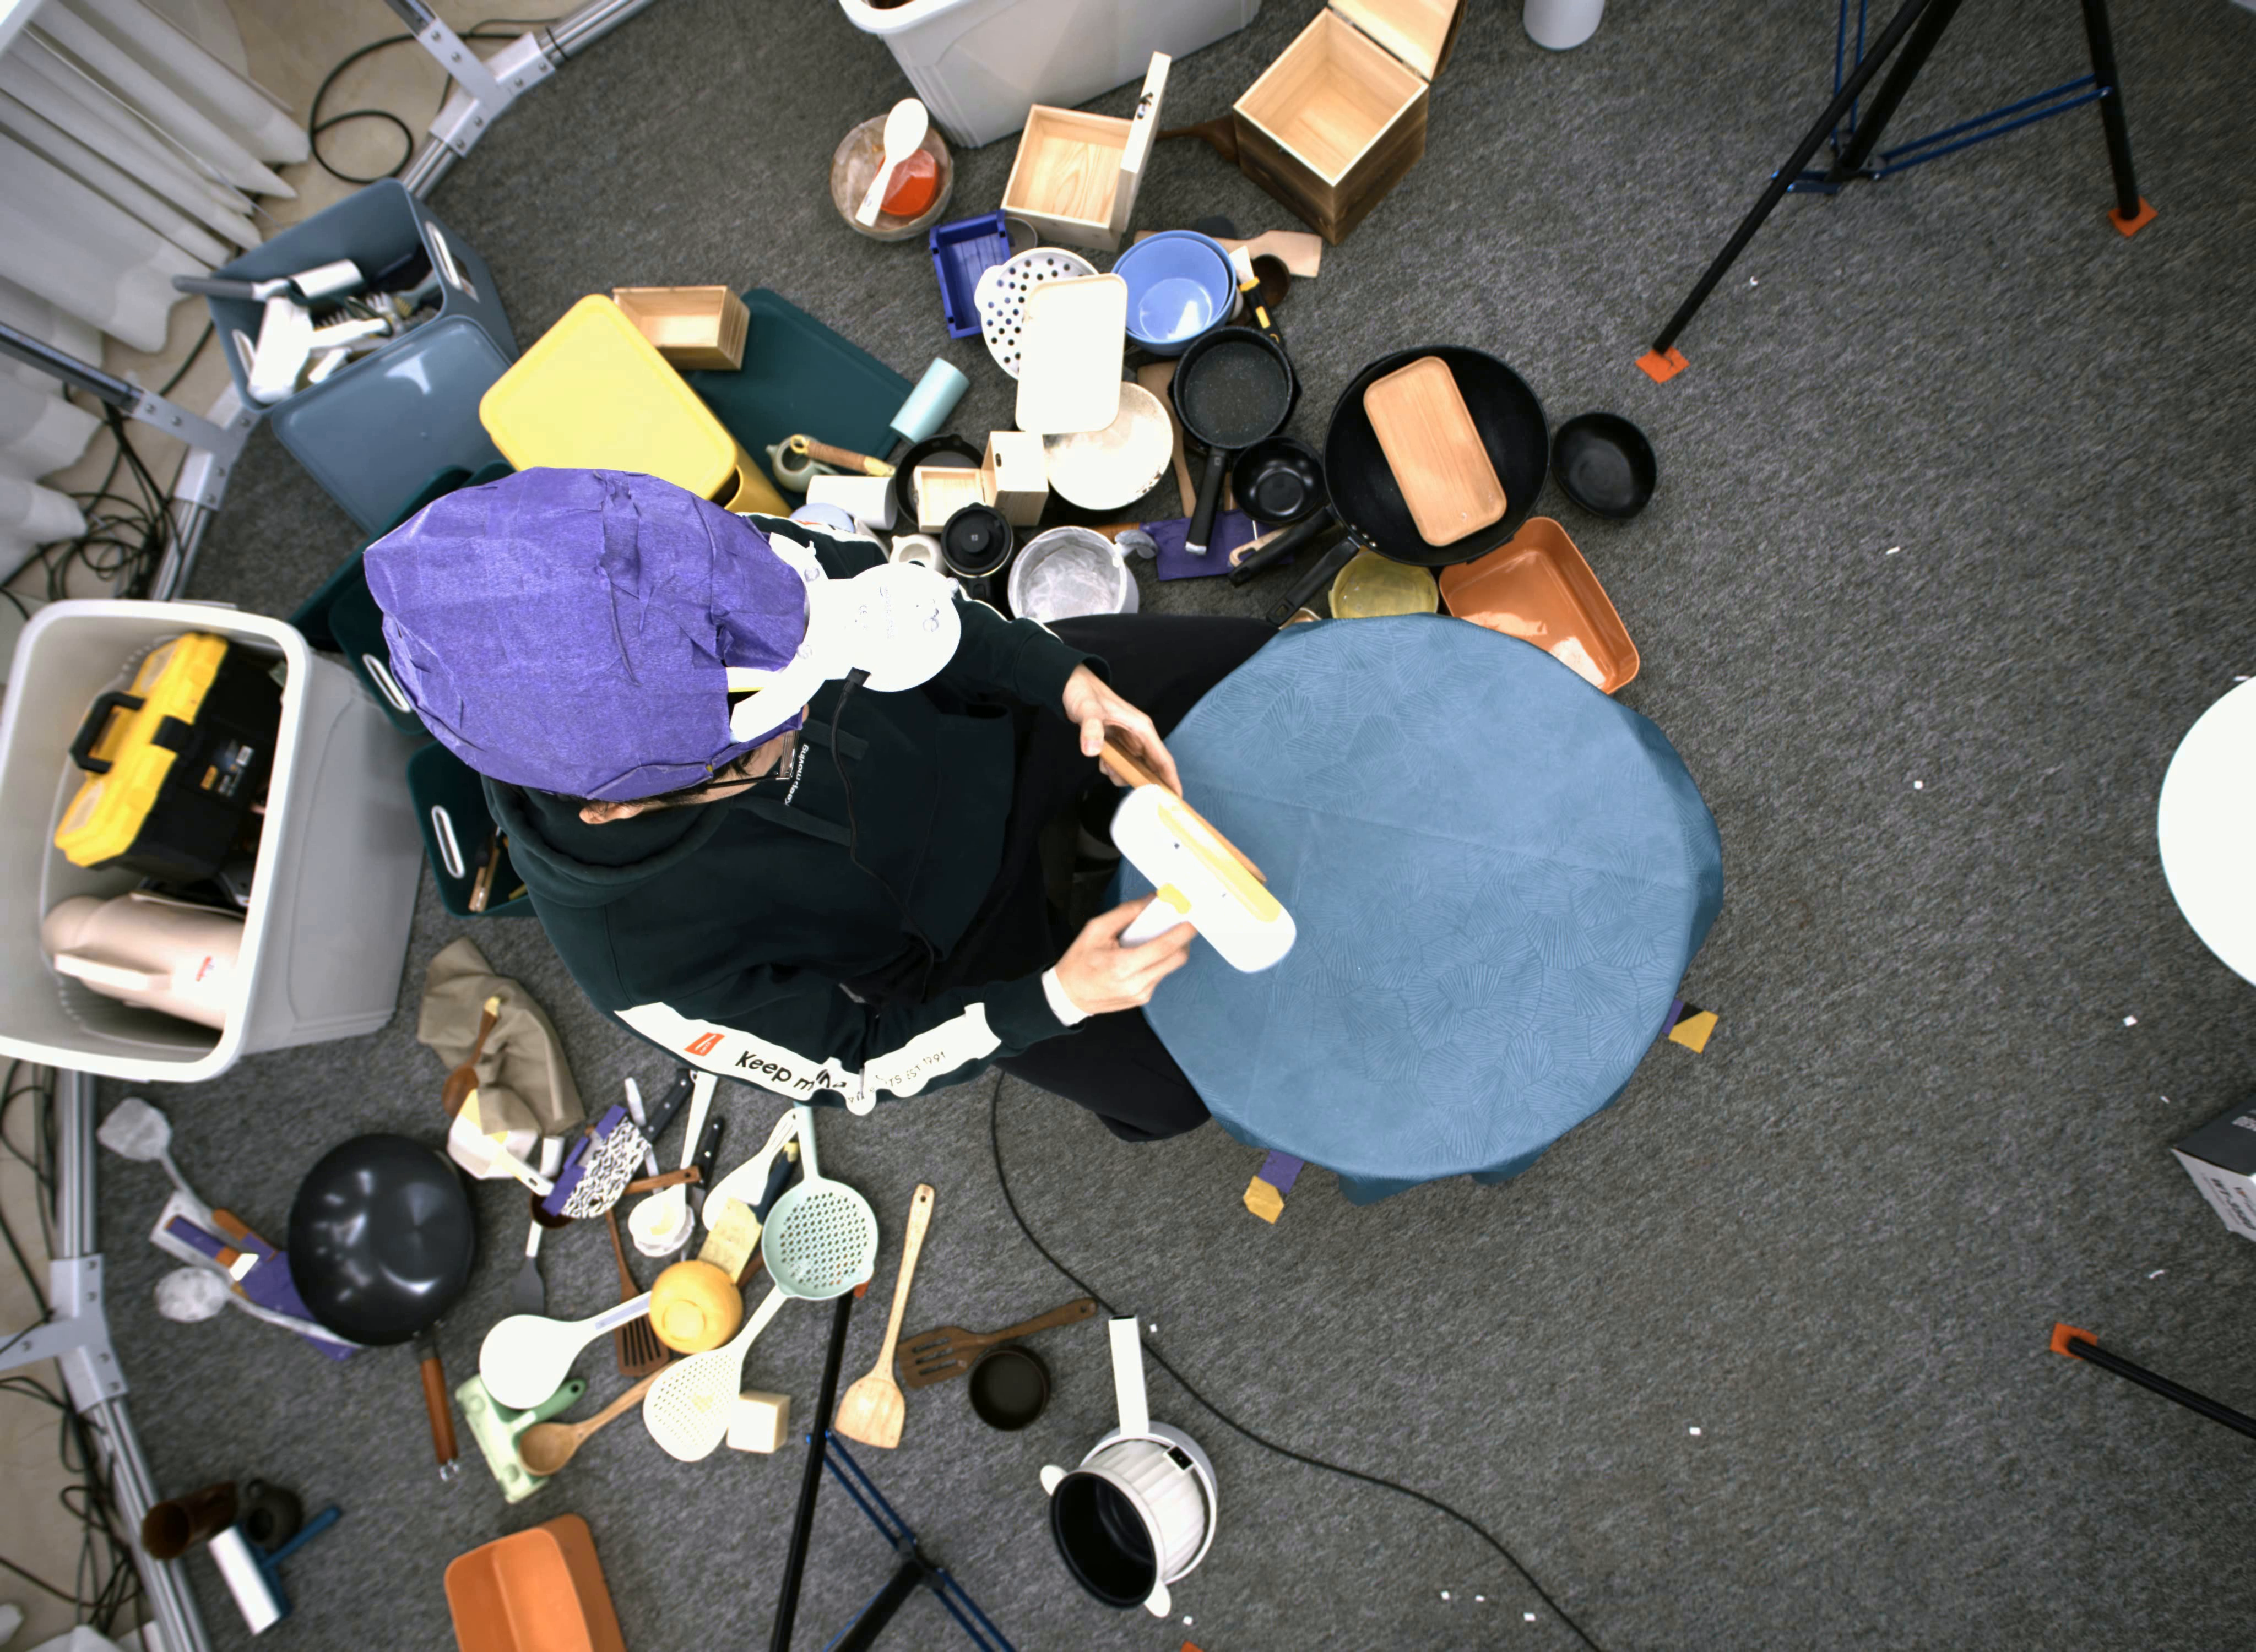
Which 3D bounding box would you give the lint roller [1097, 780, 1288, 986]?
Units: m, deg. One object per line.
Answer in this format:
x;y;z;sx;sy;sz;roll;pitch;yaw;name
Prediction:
0.032;0.076;1.249;0.192;0.197;0.072;38;50;6;lint roller

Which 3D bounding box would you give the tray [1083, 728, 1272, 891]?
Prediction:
0.043;-0.016;1.291;0.229;0.102;0.020;43;97;21;tray
